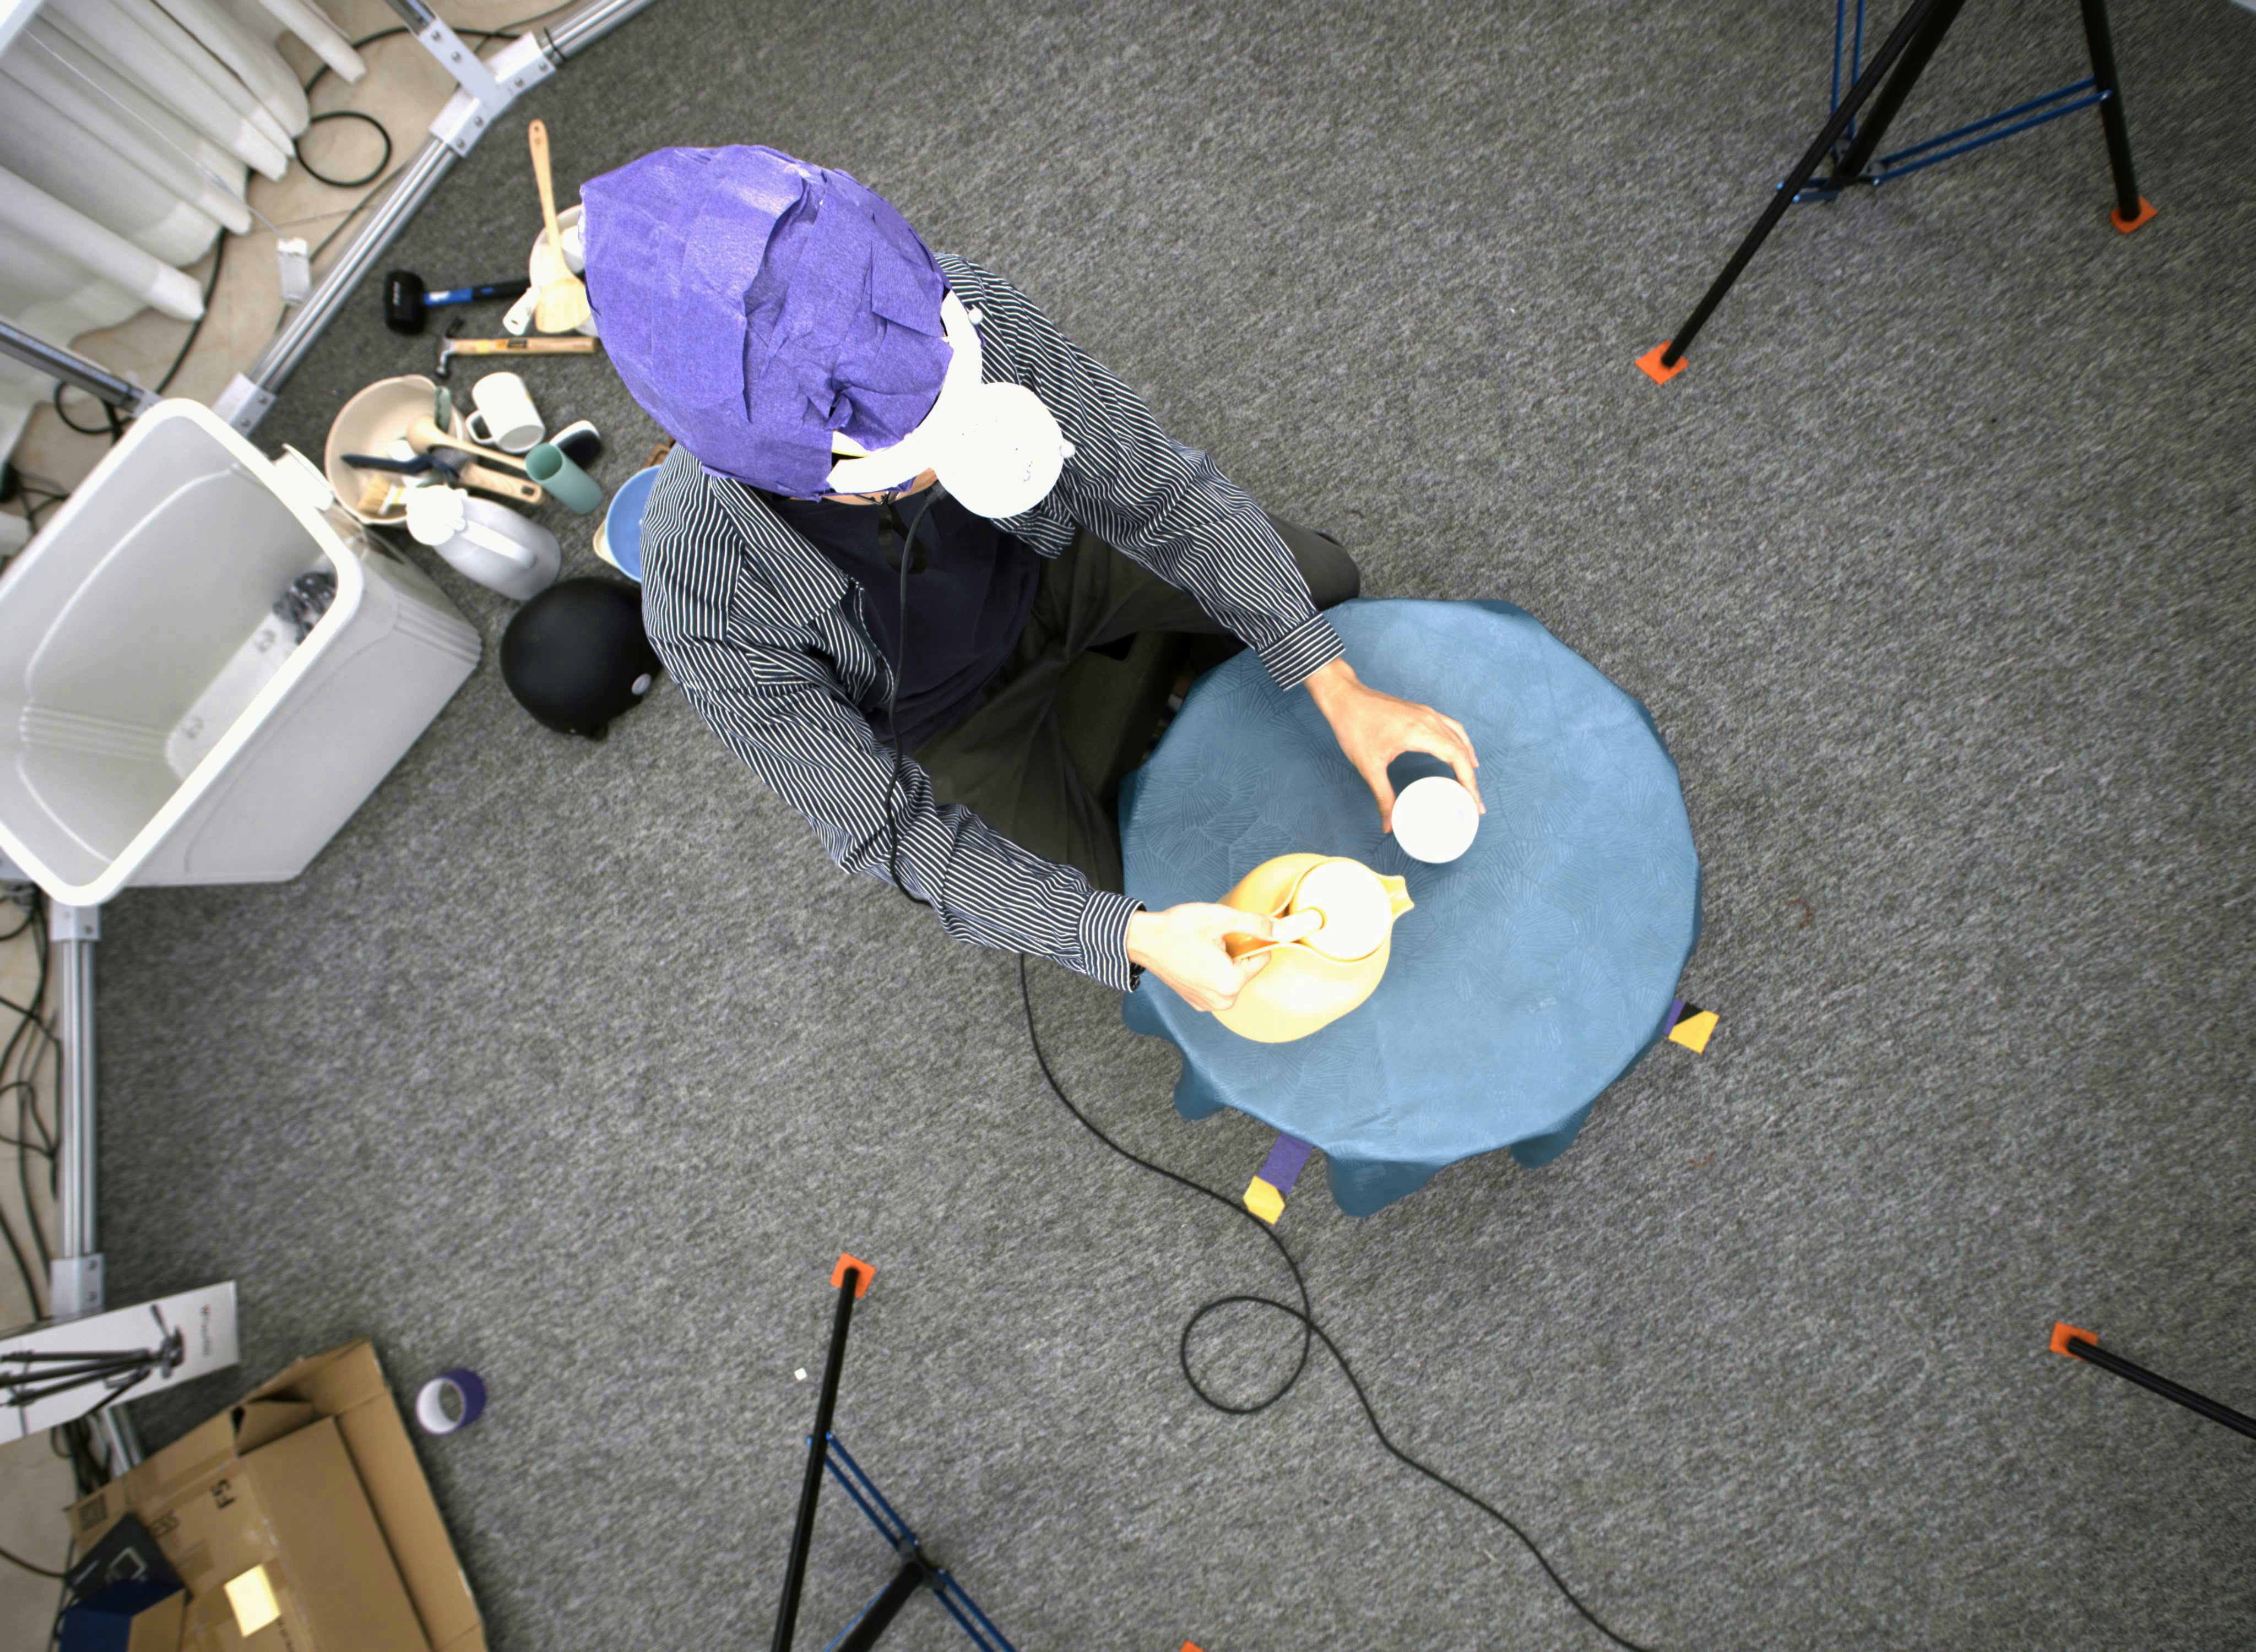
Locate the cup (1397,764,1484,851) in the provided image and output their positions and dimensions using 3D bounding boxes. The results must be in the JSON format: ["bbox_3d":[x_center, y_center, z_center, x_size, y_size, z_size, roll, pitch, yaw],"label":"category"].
[{"bbox_3d":[0.307,-0.015,1.358,0.082,0.125,0.081,-1,86,12],"label":"cup"}]

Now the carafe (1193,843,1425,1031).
[{"bbox_3d":[0.152,0.102,1.299,0.201,0.264,0.162,-18,78,-17],"label":"carafe"}]
